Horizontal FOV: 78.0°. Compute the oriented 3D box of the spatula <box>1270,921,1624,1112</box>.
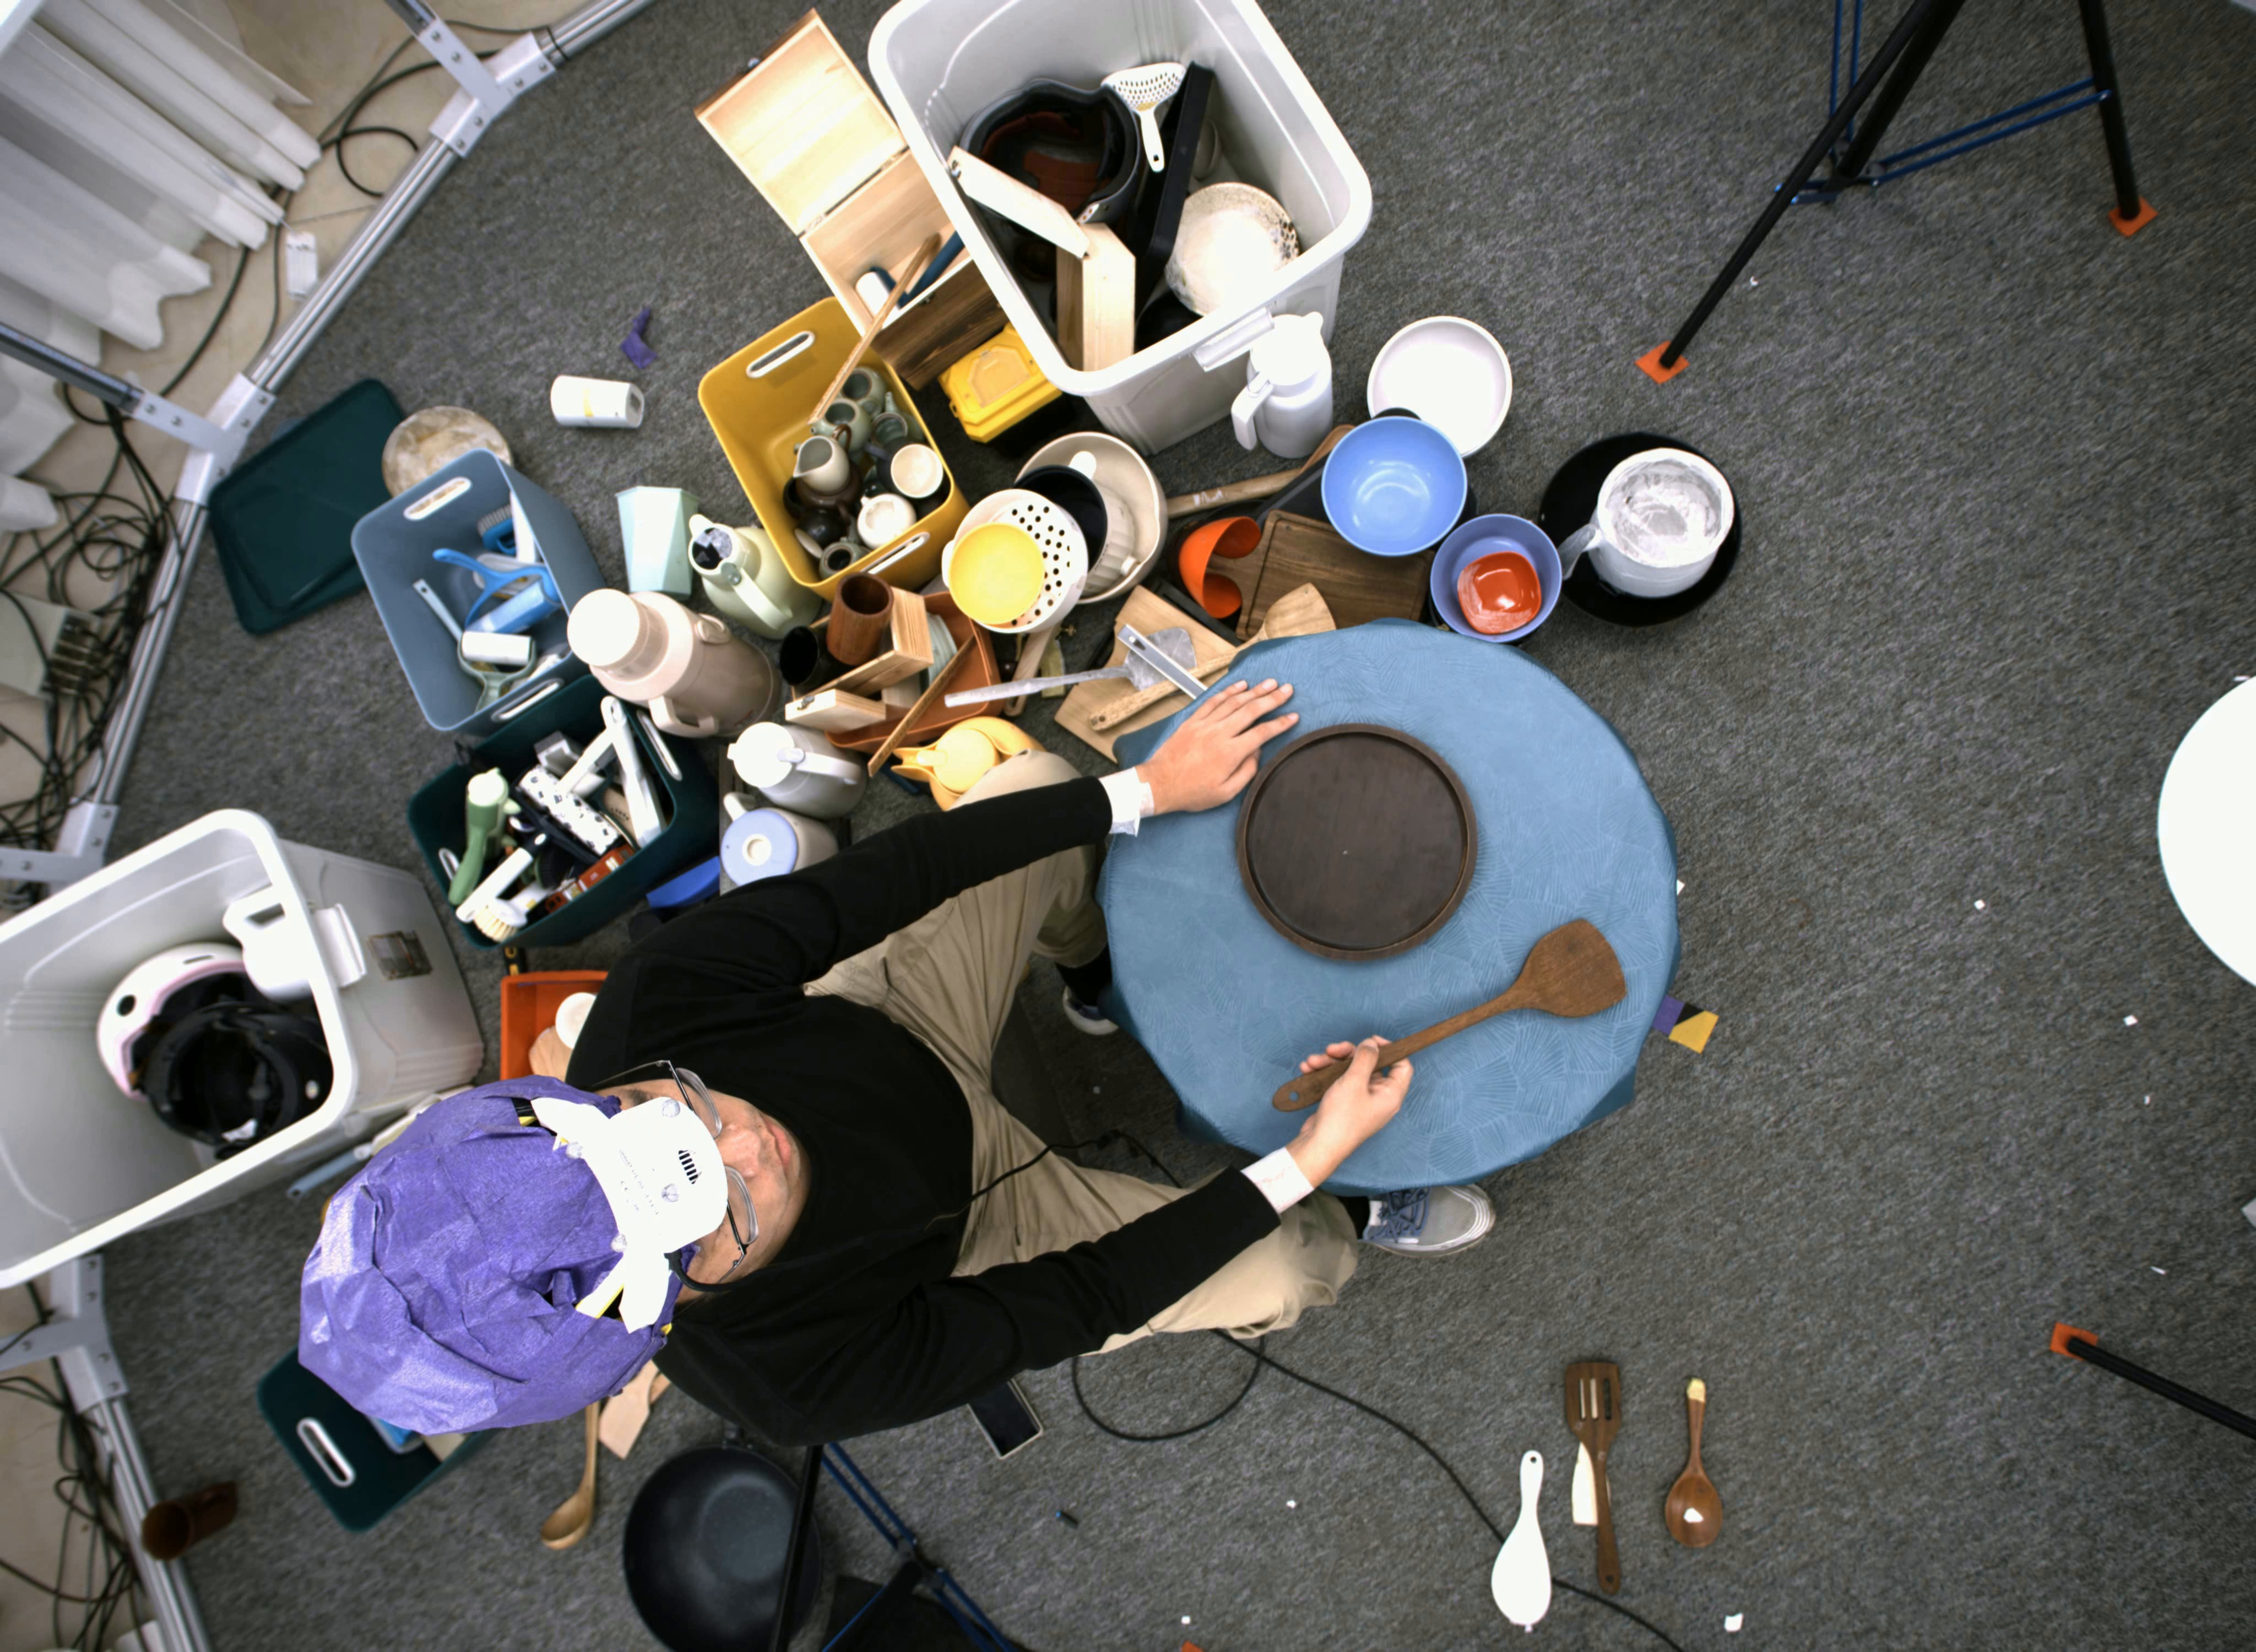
[{"bbox_3d":[0.322,0.204,1.401,0.385,0.016,0.095,-23,78,-4],"label":"spatula"}]

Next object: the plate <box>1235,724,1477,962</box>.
[{"bbox_3d":[0.239,0.016,1.458,0.256,0.029,0.254,-1,87,9],"label":"plate"}]
